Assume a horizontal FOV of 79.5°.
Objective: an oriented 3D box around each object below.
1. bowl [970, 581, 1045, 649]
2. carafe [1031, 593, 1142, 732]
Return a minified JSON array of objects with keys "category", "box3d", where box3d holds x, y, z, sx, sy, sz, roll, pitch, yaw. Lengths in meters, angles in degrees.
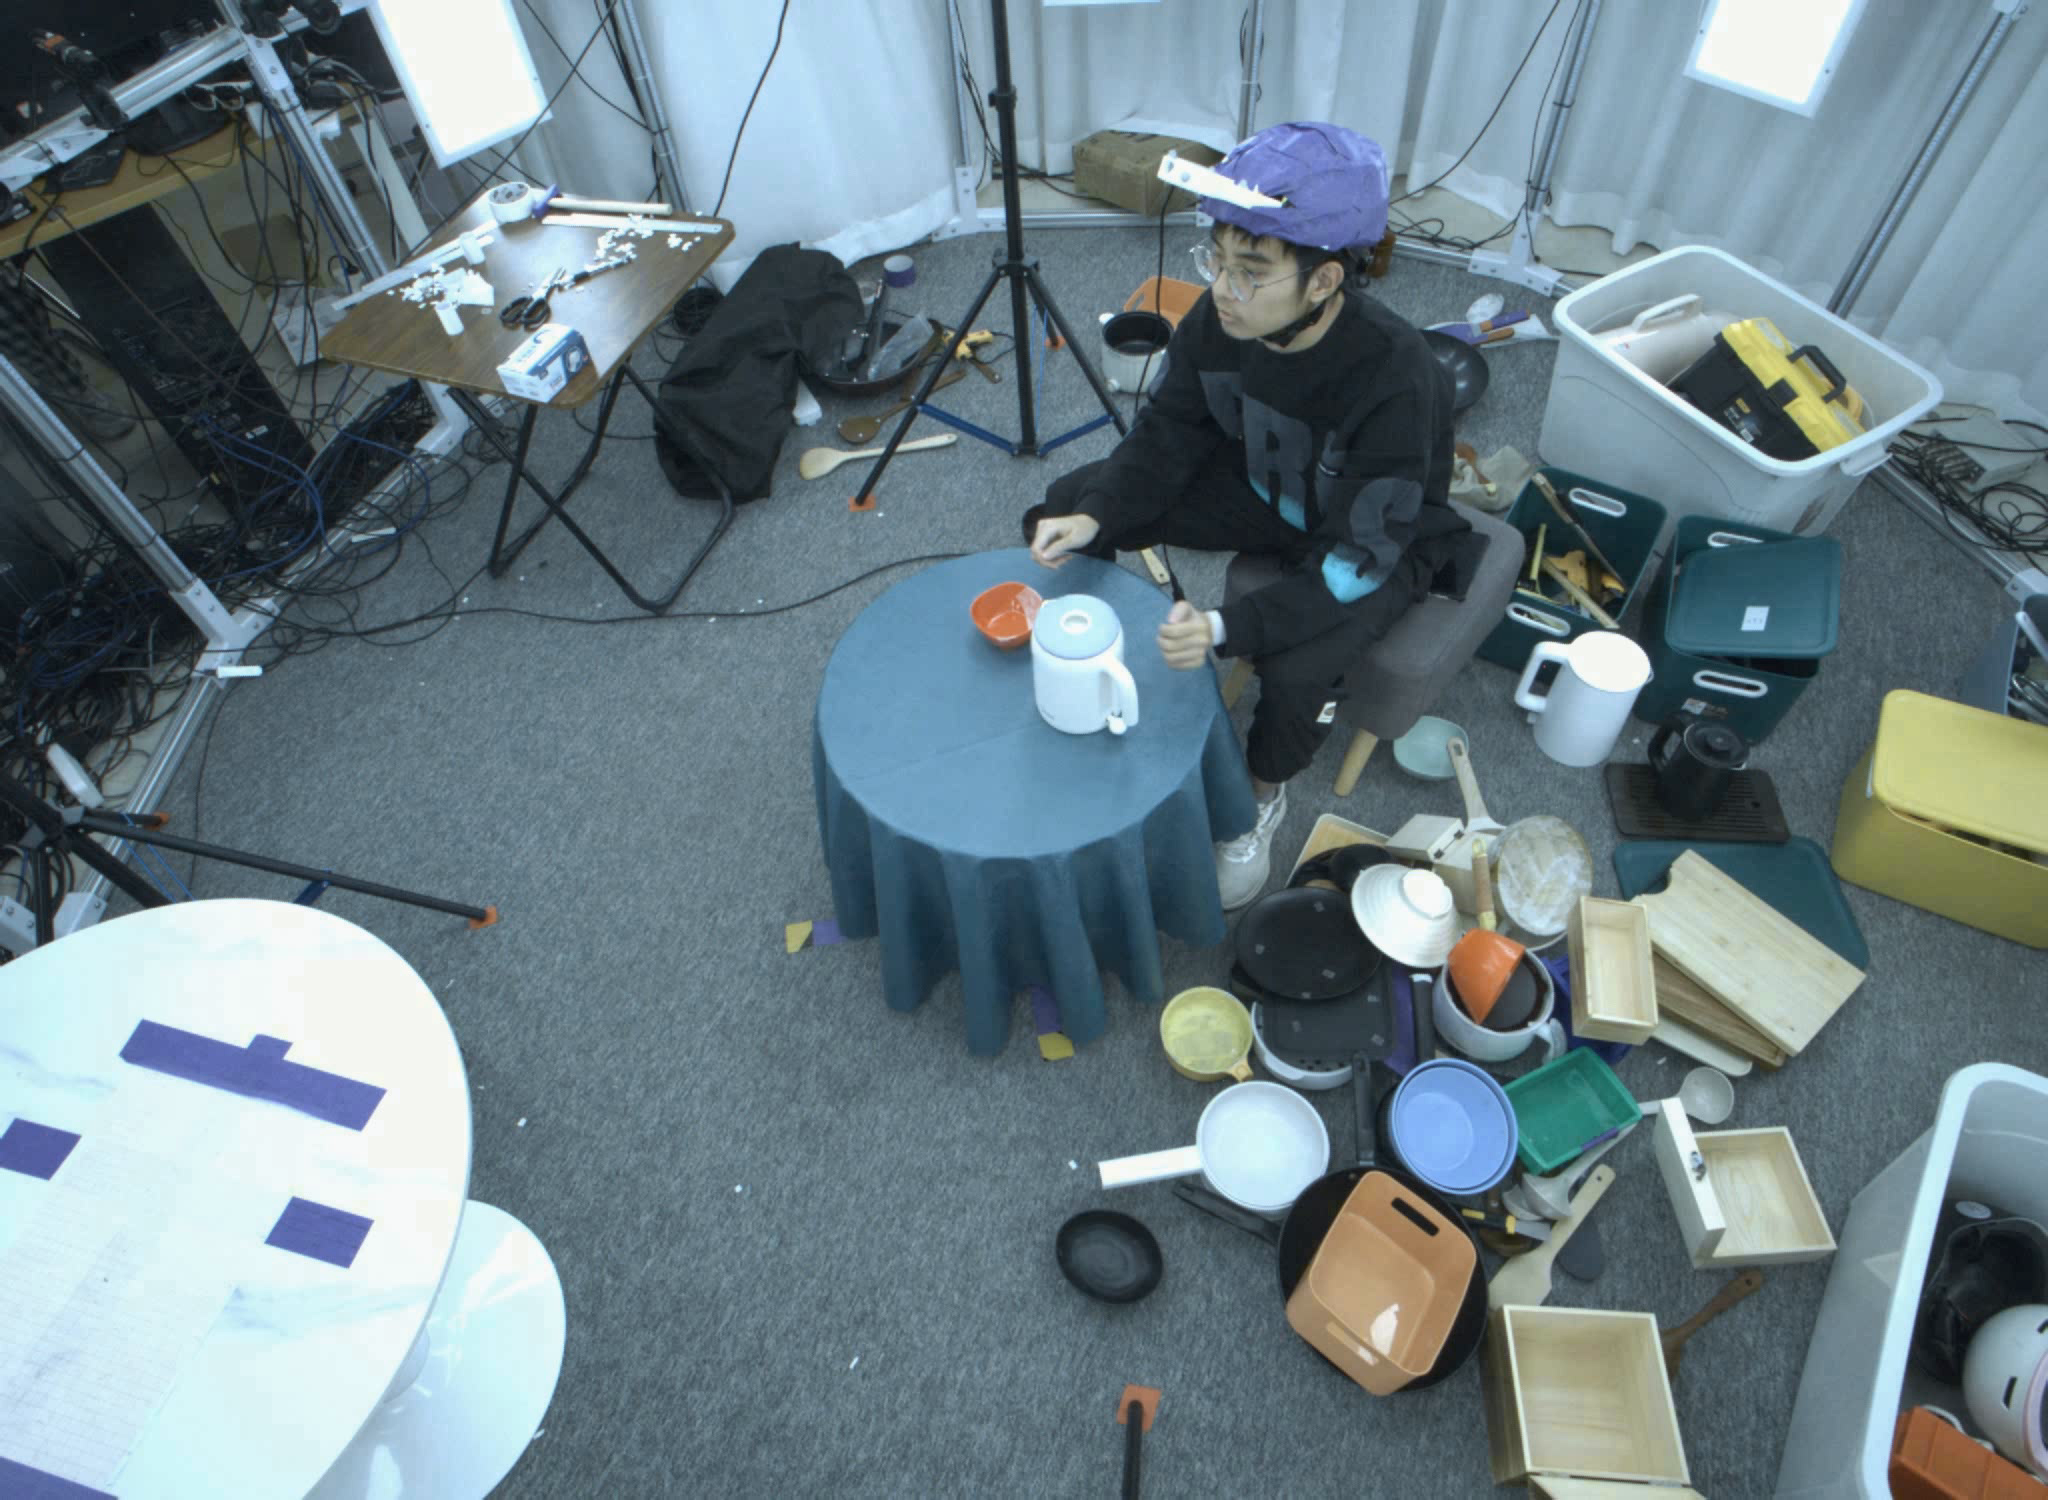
[{"category":"bowl","box3d":[-0.022,-0.202,1.894,0.118,0.052,0.117,-2,54,4]},{"category":"carafe","box3d":[0.095,-0.110,1.753,0.133,0.184,0.188,-39,64,-21]}]
